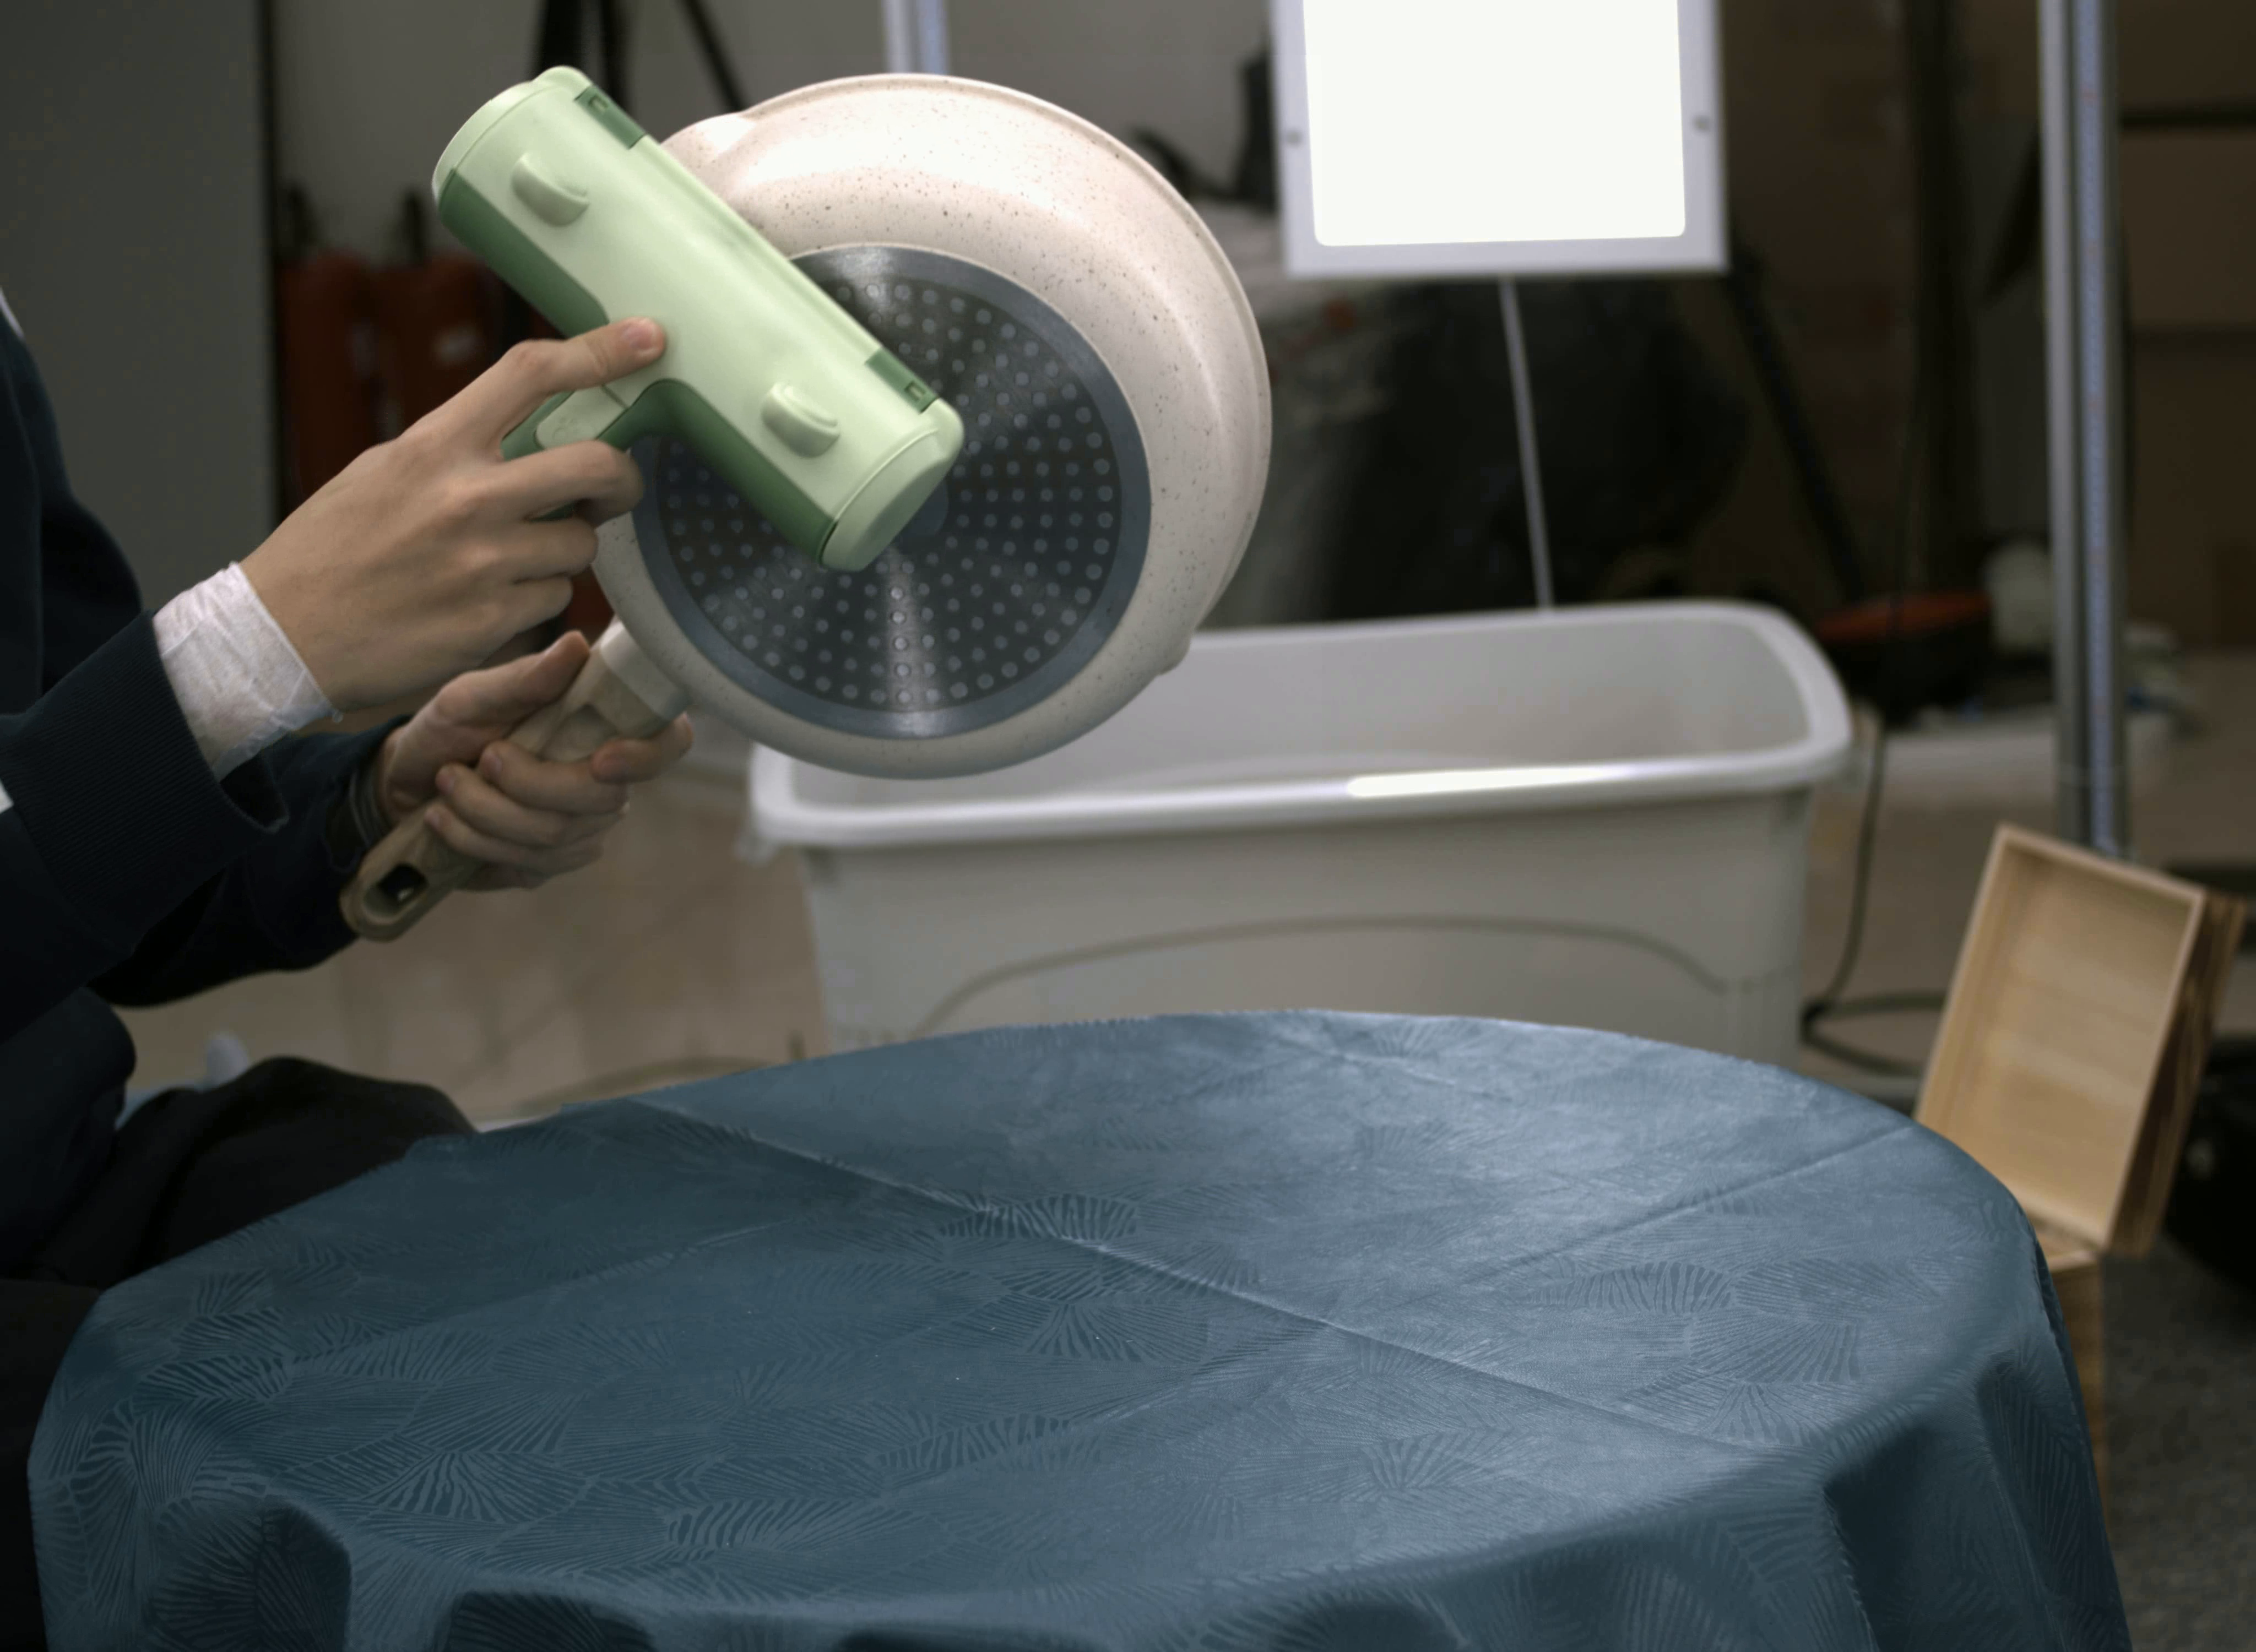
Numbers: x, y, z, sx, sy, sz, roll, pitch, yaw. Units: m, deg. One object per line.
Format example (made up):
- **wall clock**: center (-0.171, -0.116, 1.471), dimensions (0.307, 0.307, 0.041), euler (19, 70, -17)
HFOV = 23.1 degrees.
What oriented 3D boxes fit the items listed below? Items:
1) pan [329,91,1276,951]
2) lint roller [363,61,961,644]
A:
- **pan**: center (-0.140, -0.071, 1.957), dimensions (0.441, 0.261, 0.101), euler (-40, 16, 23)
- **lint roller**: center (-0.183, -0.134, 1.809), dimensions (0.181, 0.199, 0.082), euler (-44, -11, -16)
